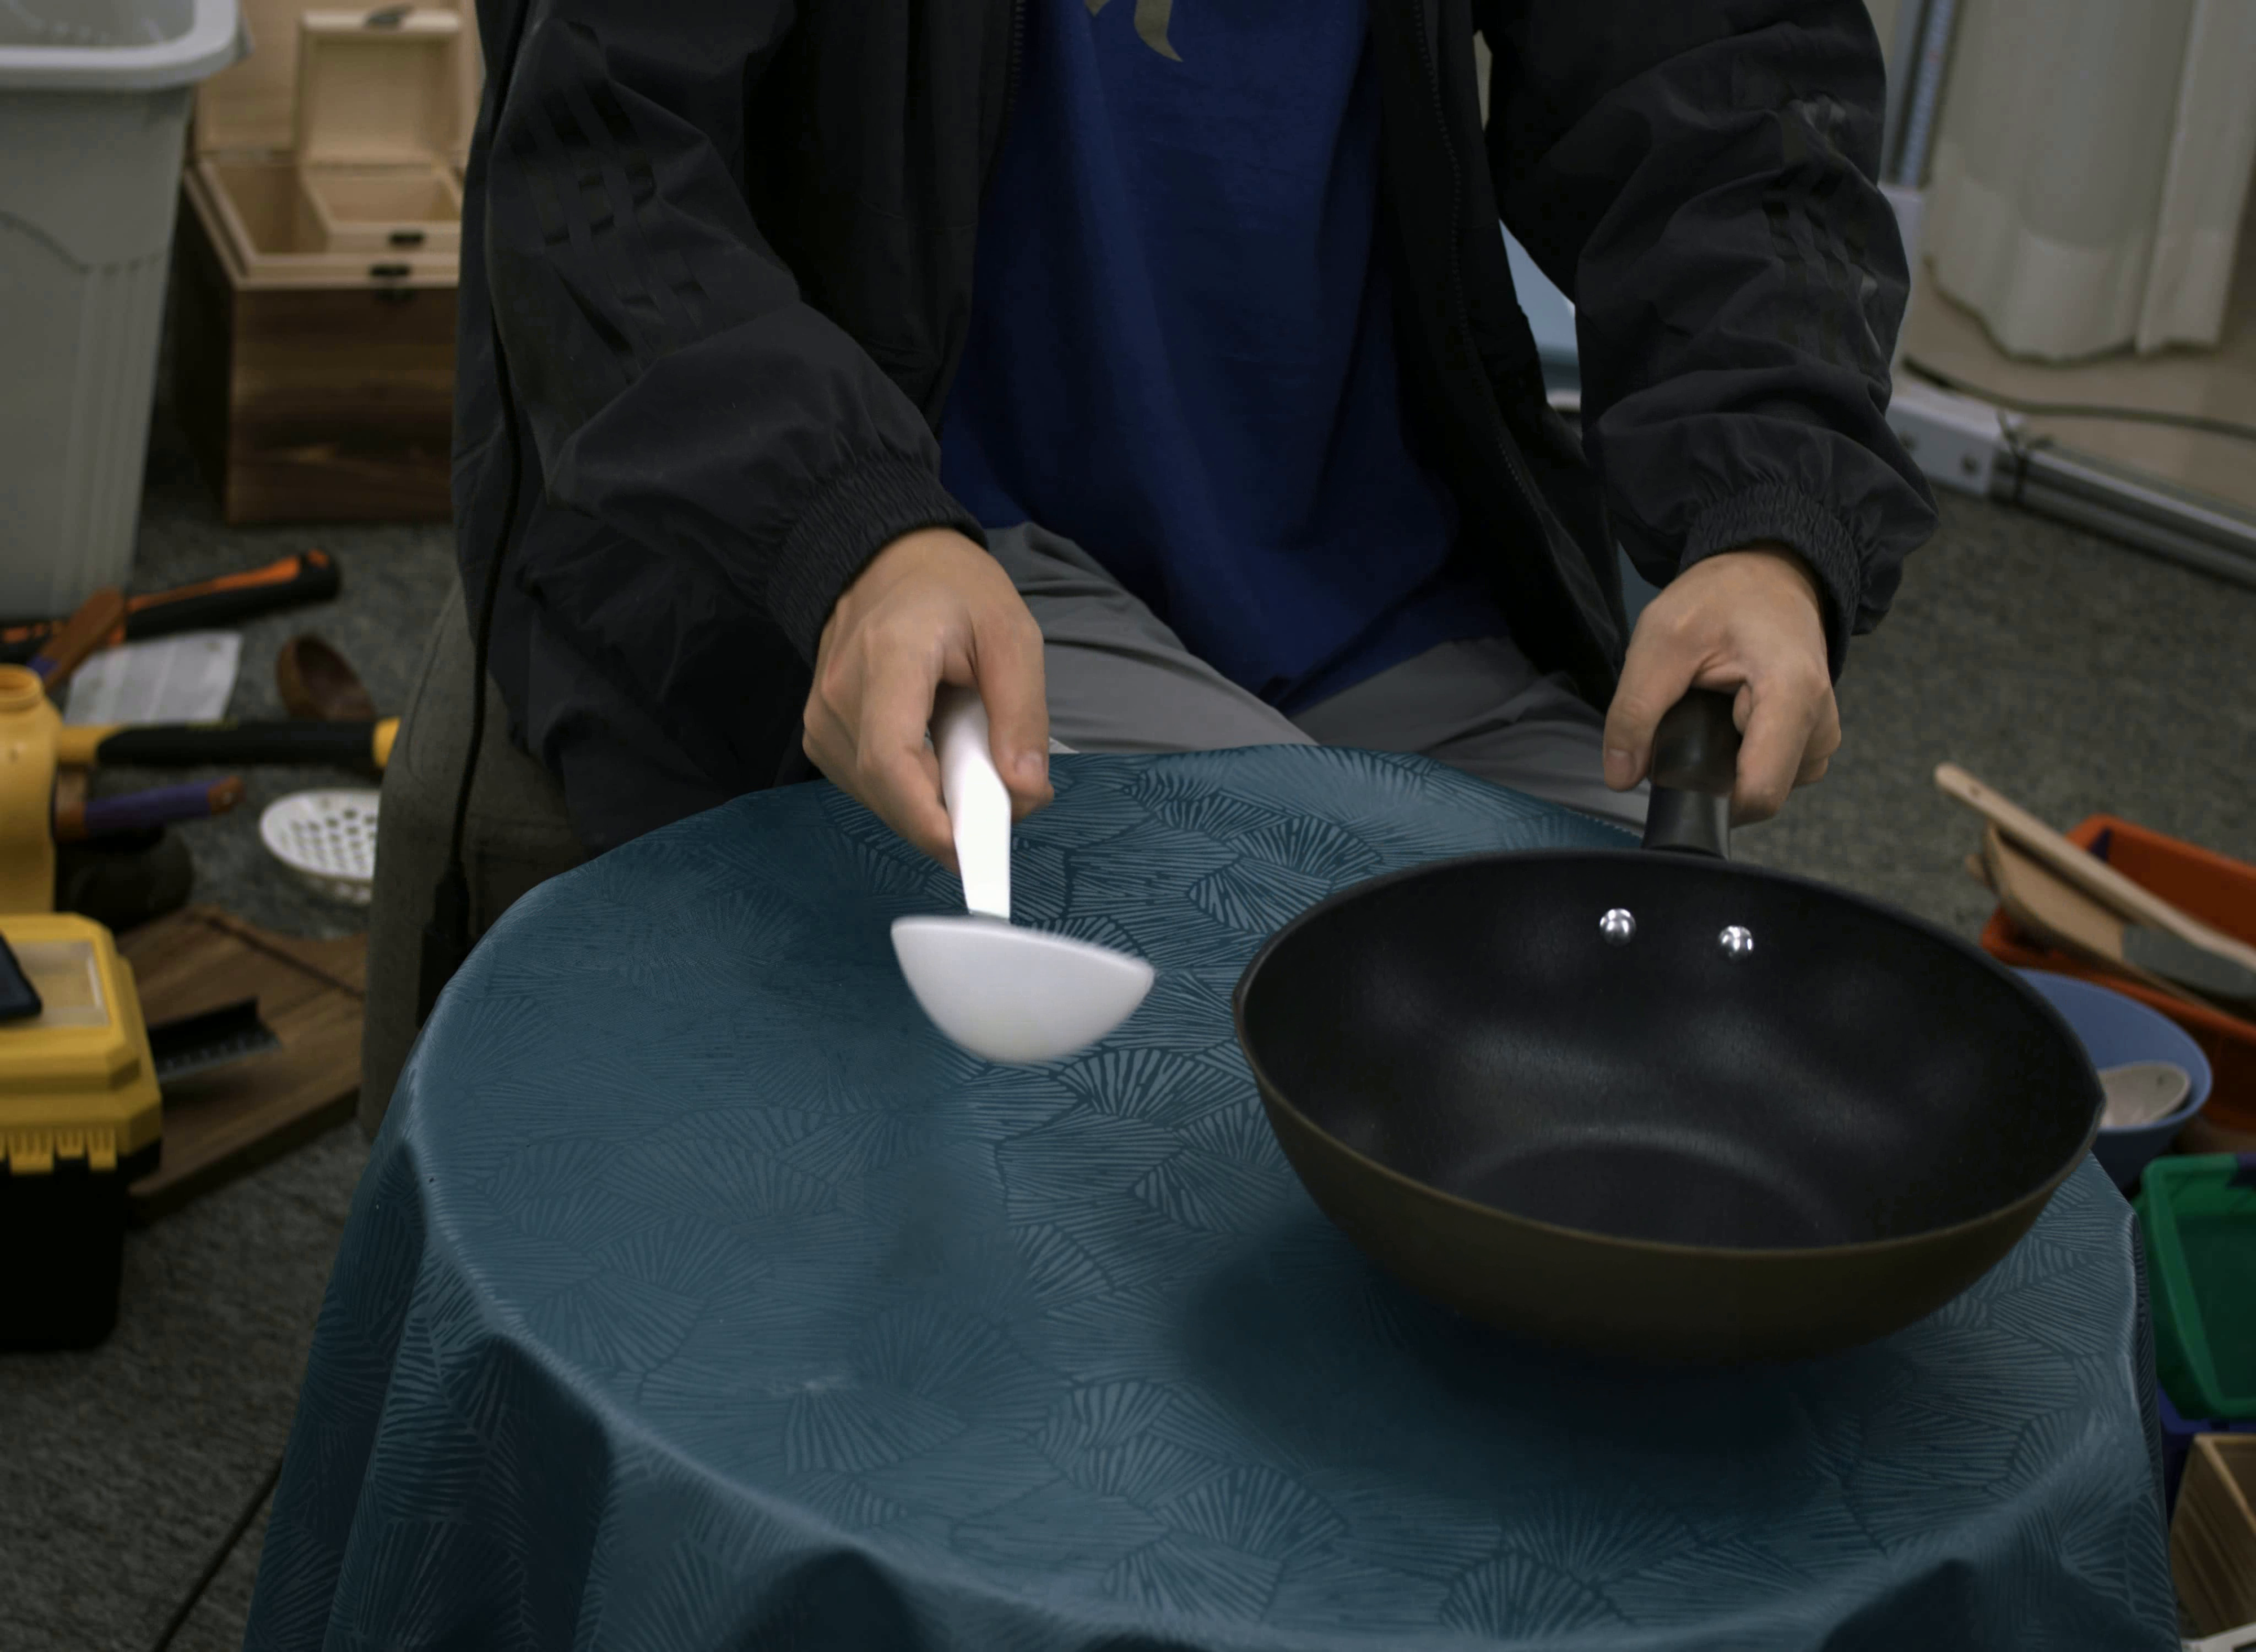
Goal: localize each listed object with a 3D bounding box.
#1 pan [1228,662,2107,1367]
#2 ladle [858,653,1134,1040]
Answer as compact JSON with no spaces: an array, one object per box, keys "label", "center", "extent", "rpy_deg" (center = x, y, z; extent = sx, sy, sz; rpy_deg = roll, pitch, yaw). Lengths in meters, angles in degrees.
[{"label":"pan","center":[0.185,0.064,1.832],"extent":[0.288,0.086,0.465],"rpy_deg":[7,25,6]},{"label":"ladle","center":[-0.049,-0.006,1.823],"extent":[0.090,0.070,0.295],"rpy_deg":[7,24,-6]}]
